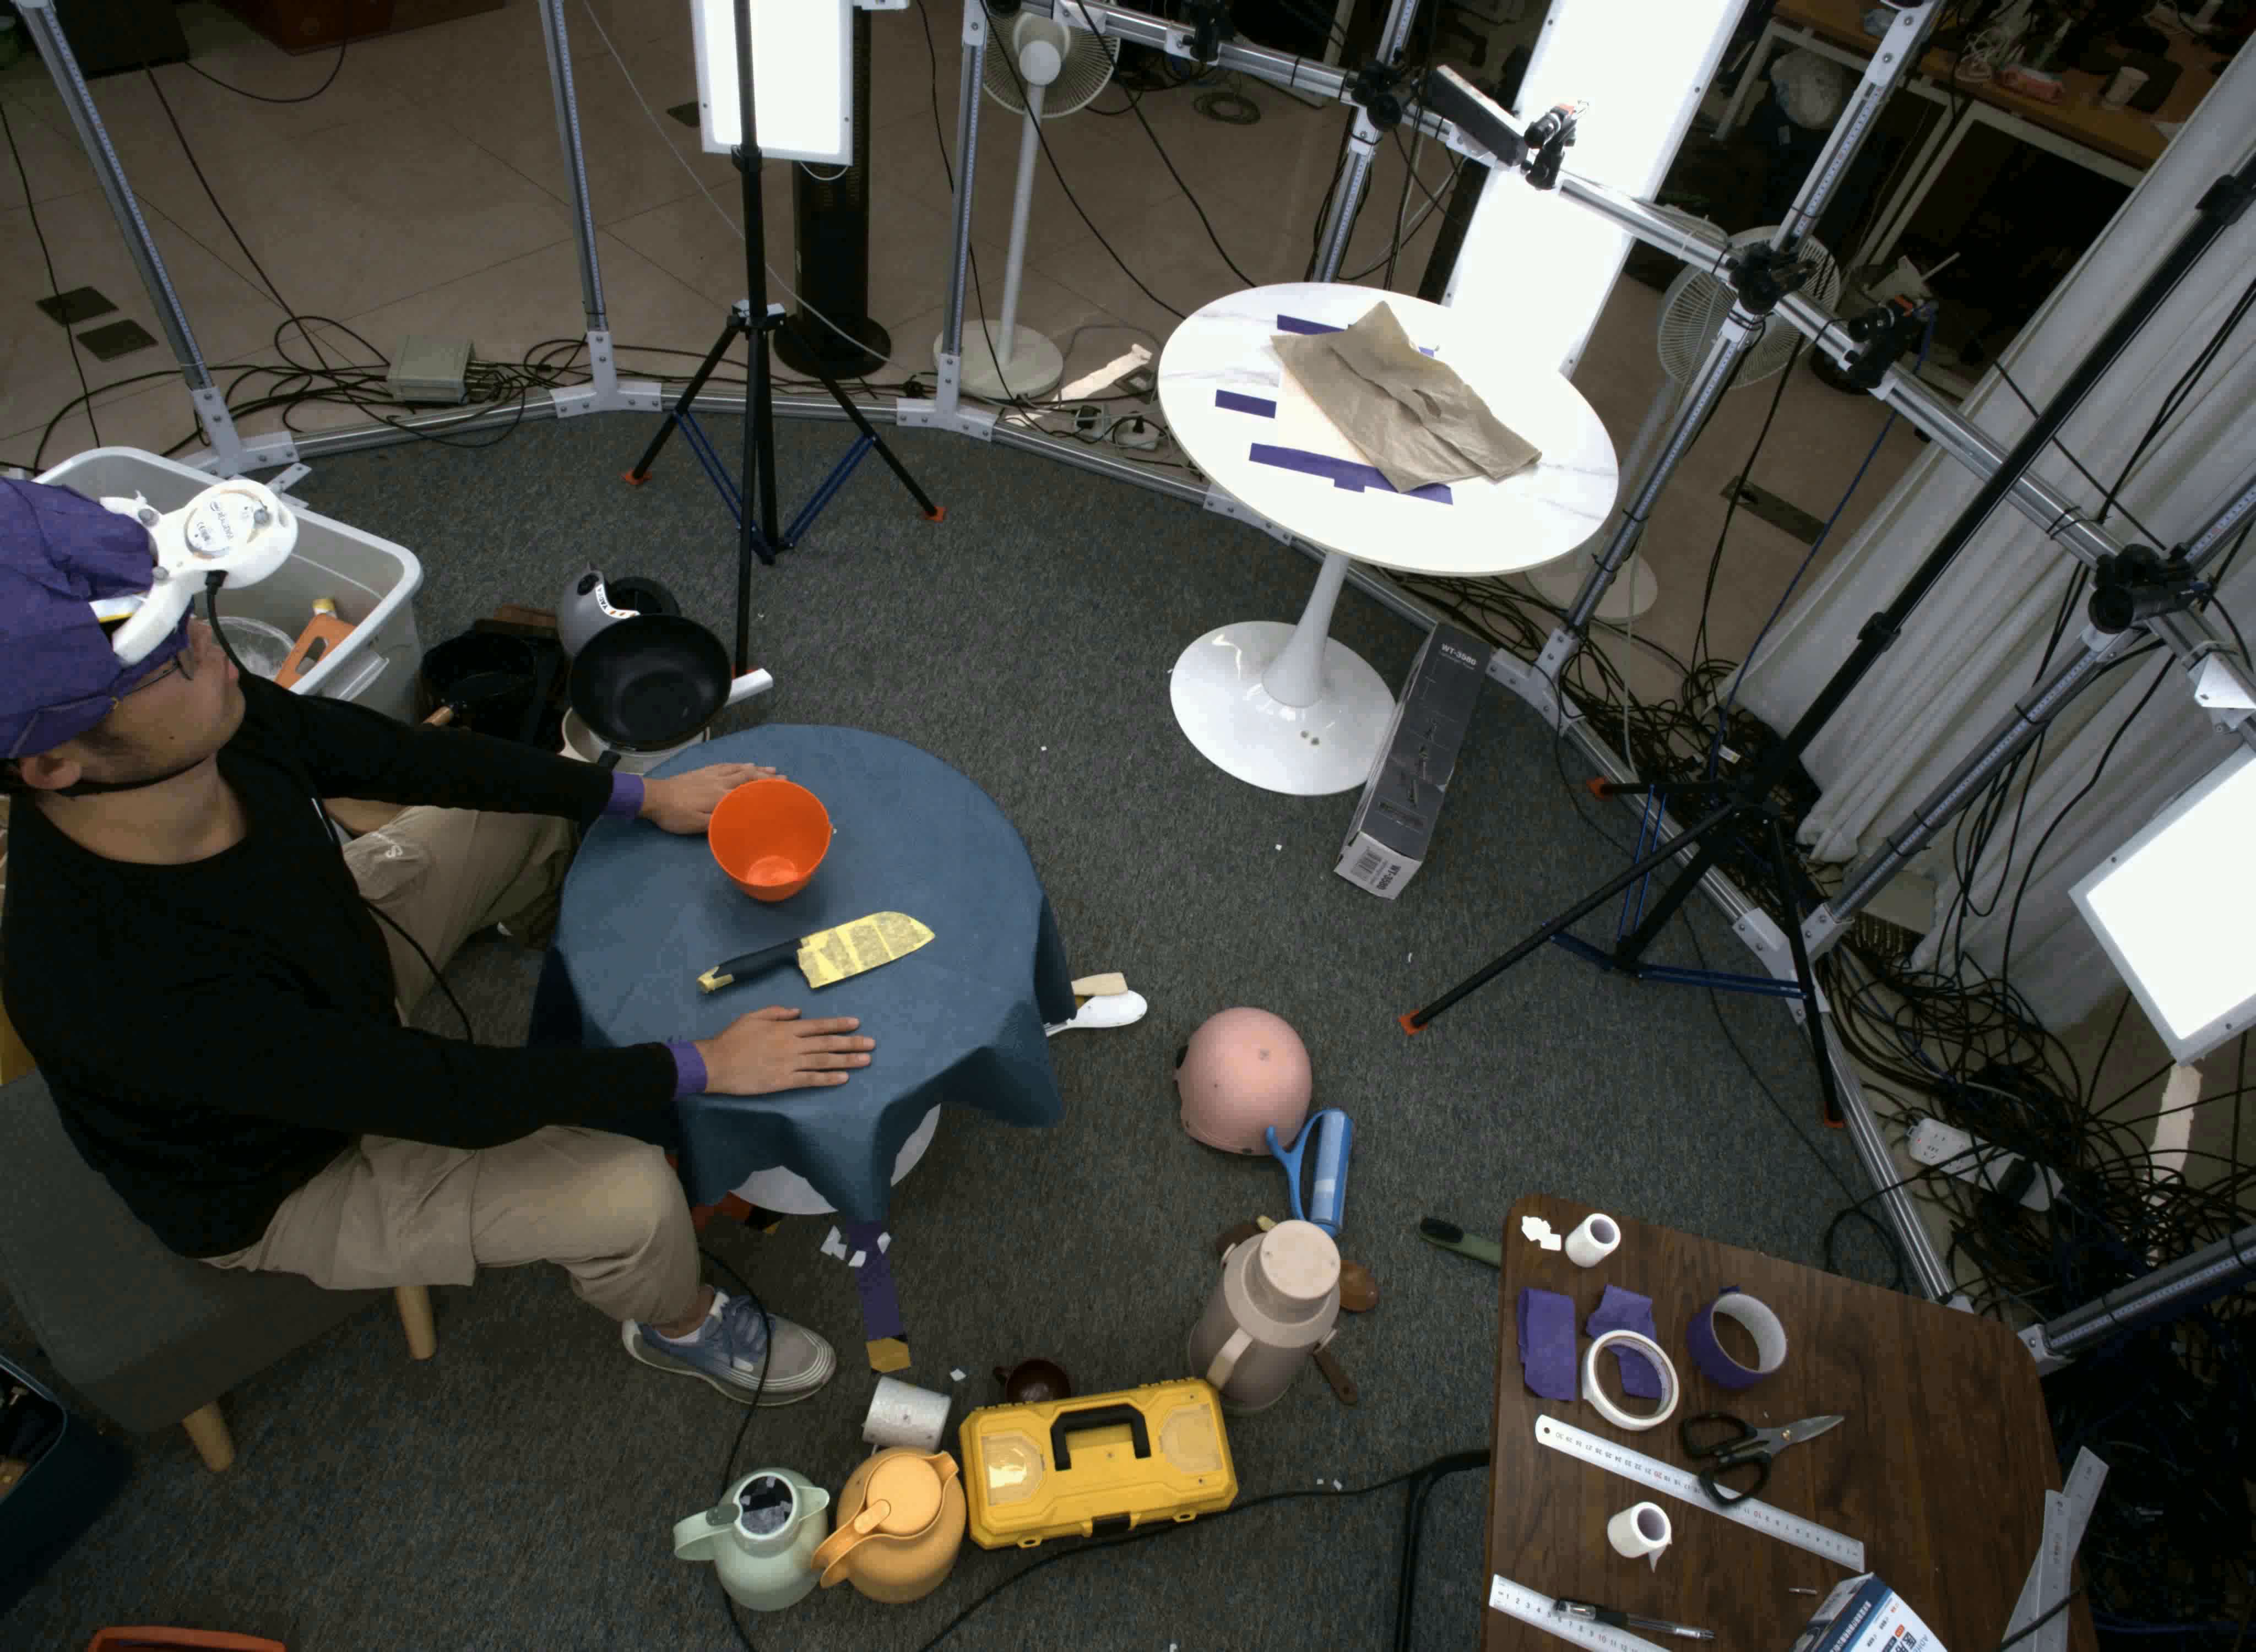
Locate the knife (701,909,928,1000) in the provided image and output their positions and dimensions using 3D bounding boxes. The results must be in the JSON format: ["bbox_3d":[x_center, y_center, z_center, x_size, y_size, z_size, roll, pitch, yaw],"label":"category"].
[{"bbox_3d":[-0.381,0.162,1.602,0.291,0.028,0.079,-17,58,-27],"label":"knife"}]

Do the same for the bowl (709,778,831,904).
[{"bbox_3d":[-0.448,0.029,1.628,0.148,0.107,0.145,8,53,-9],"label":"bowl"}]
